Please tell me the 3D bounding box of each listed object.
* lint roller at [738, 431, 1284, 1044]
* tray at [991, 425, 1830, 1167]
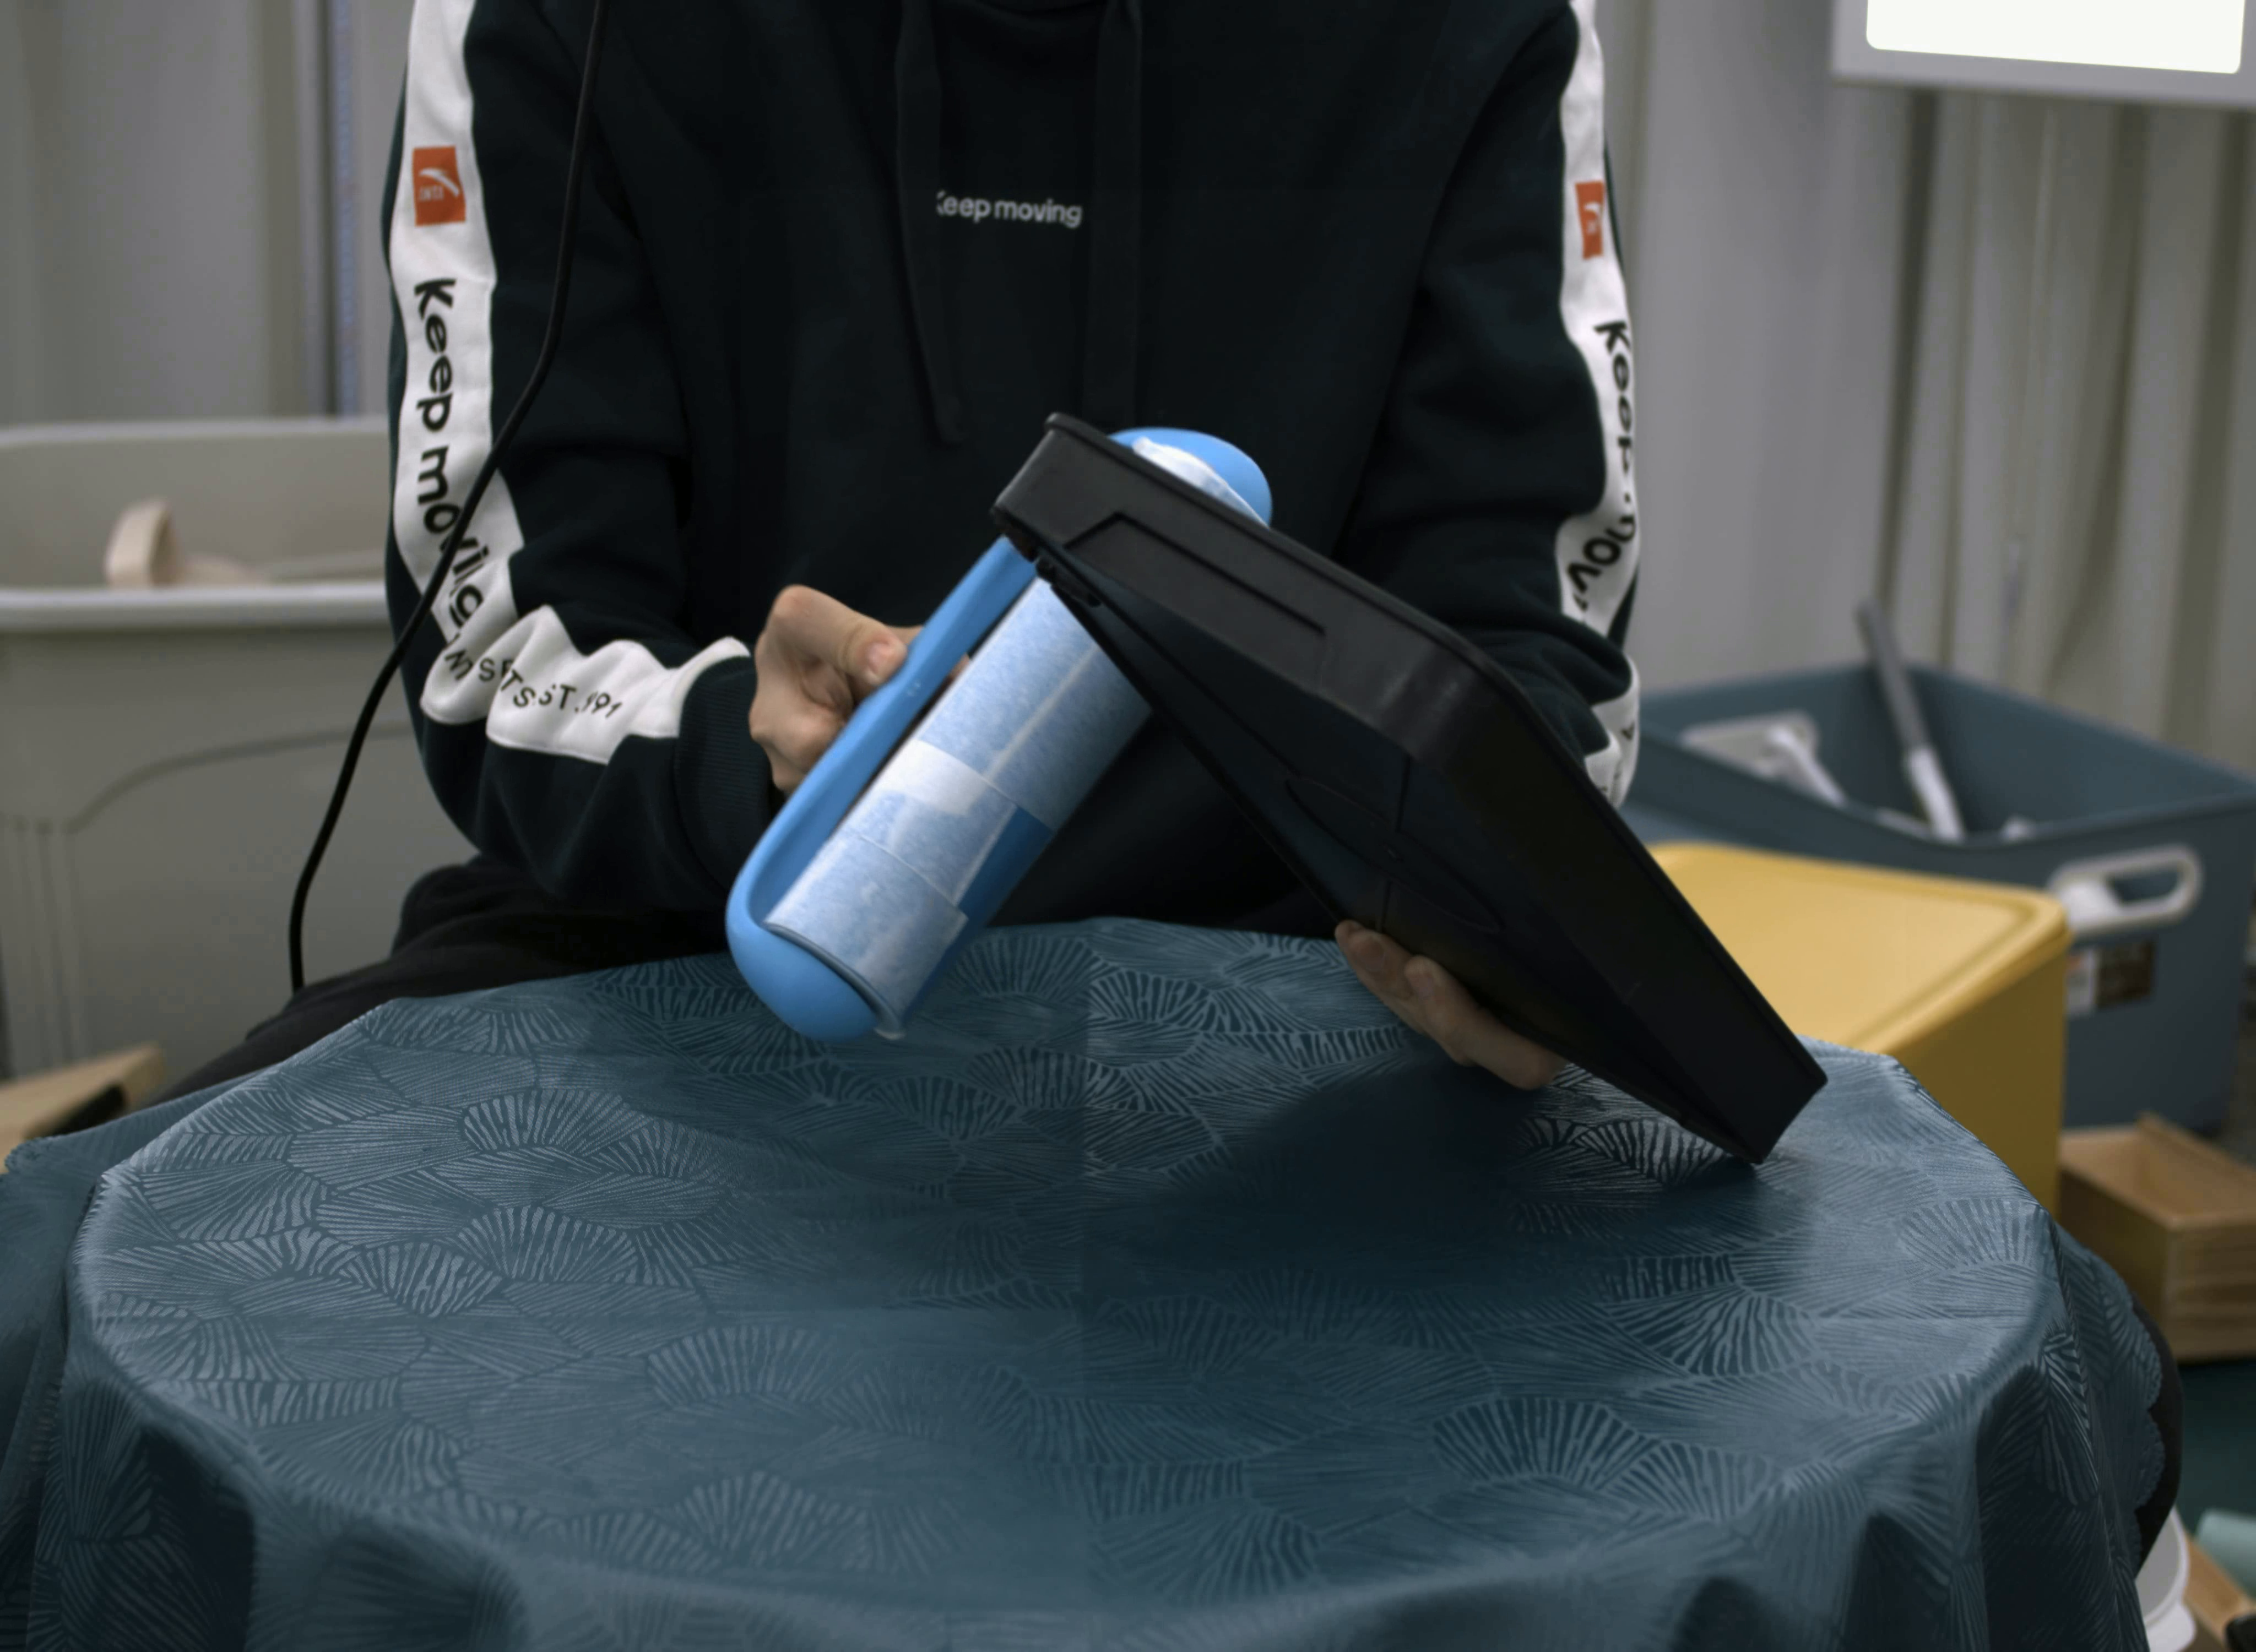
[{"bbox_3d":[-0.052,-0.023,1.655,0.068,0.229,0.179,41,-18,-14],"label":"lint roller"},{"bbox_3d":[0.089,-0.002,1.571,0.182,0.037,0.322,30,-9,33],"label":"tray"}]
